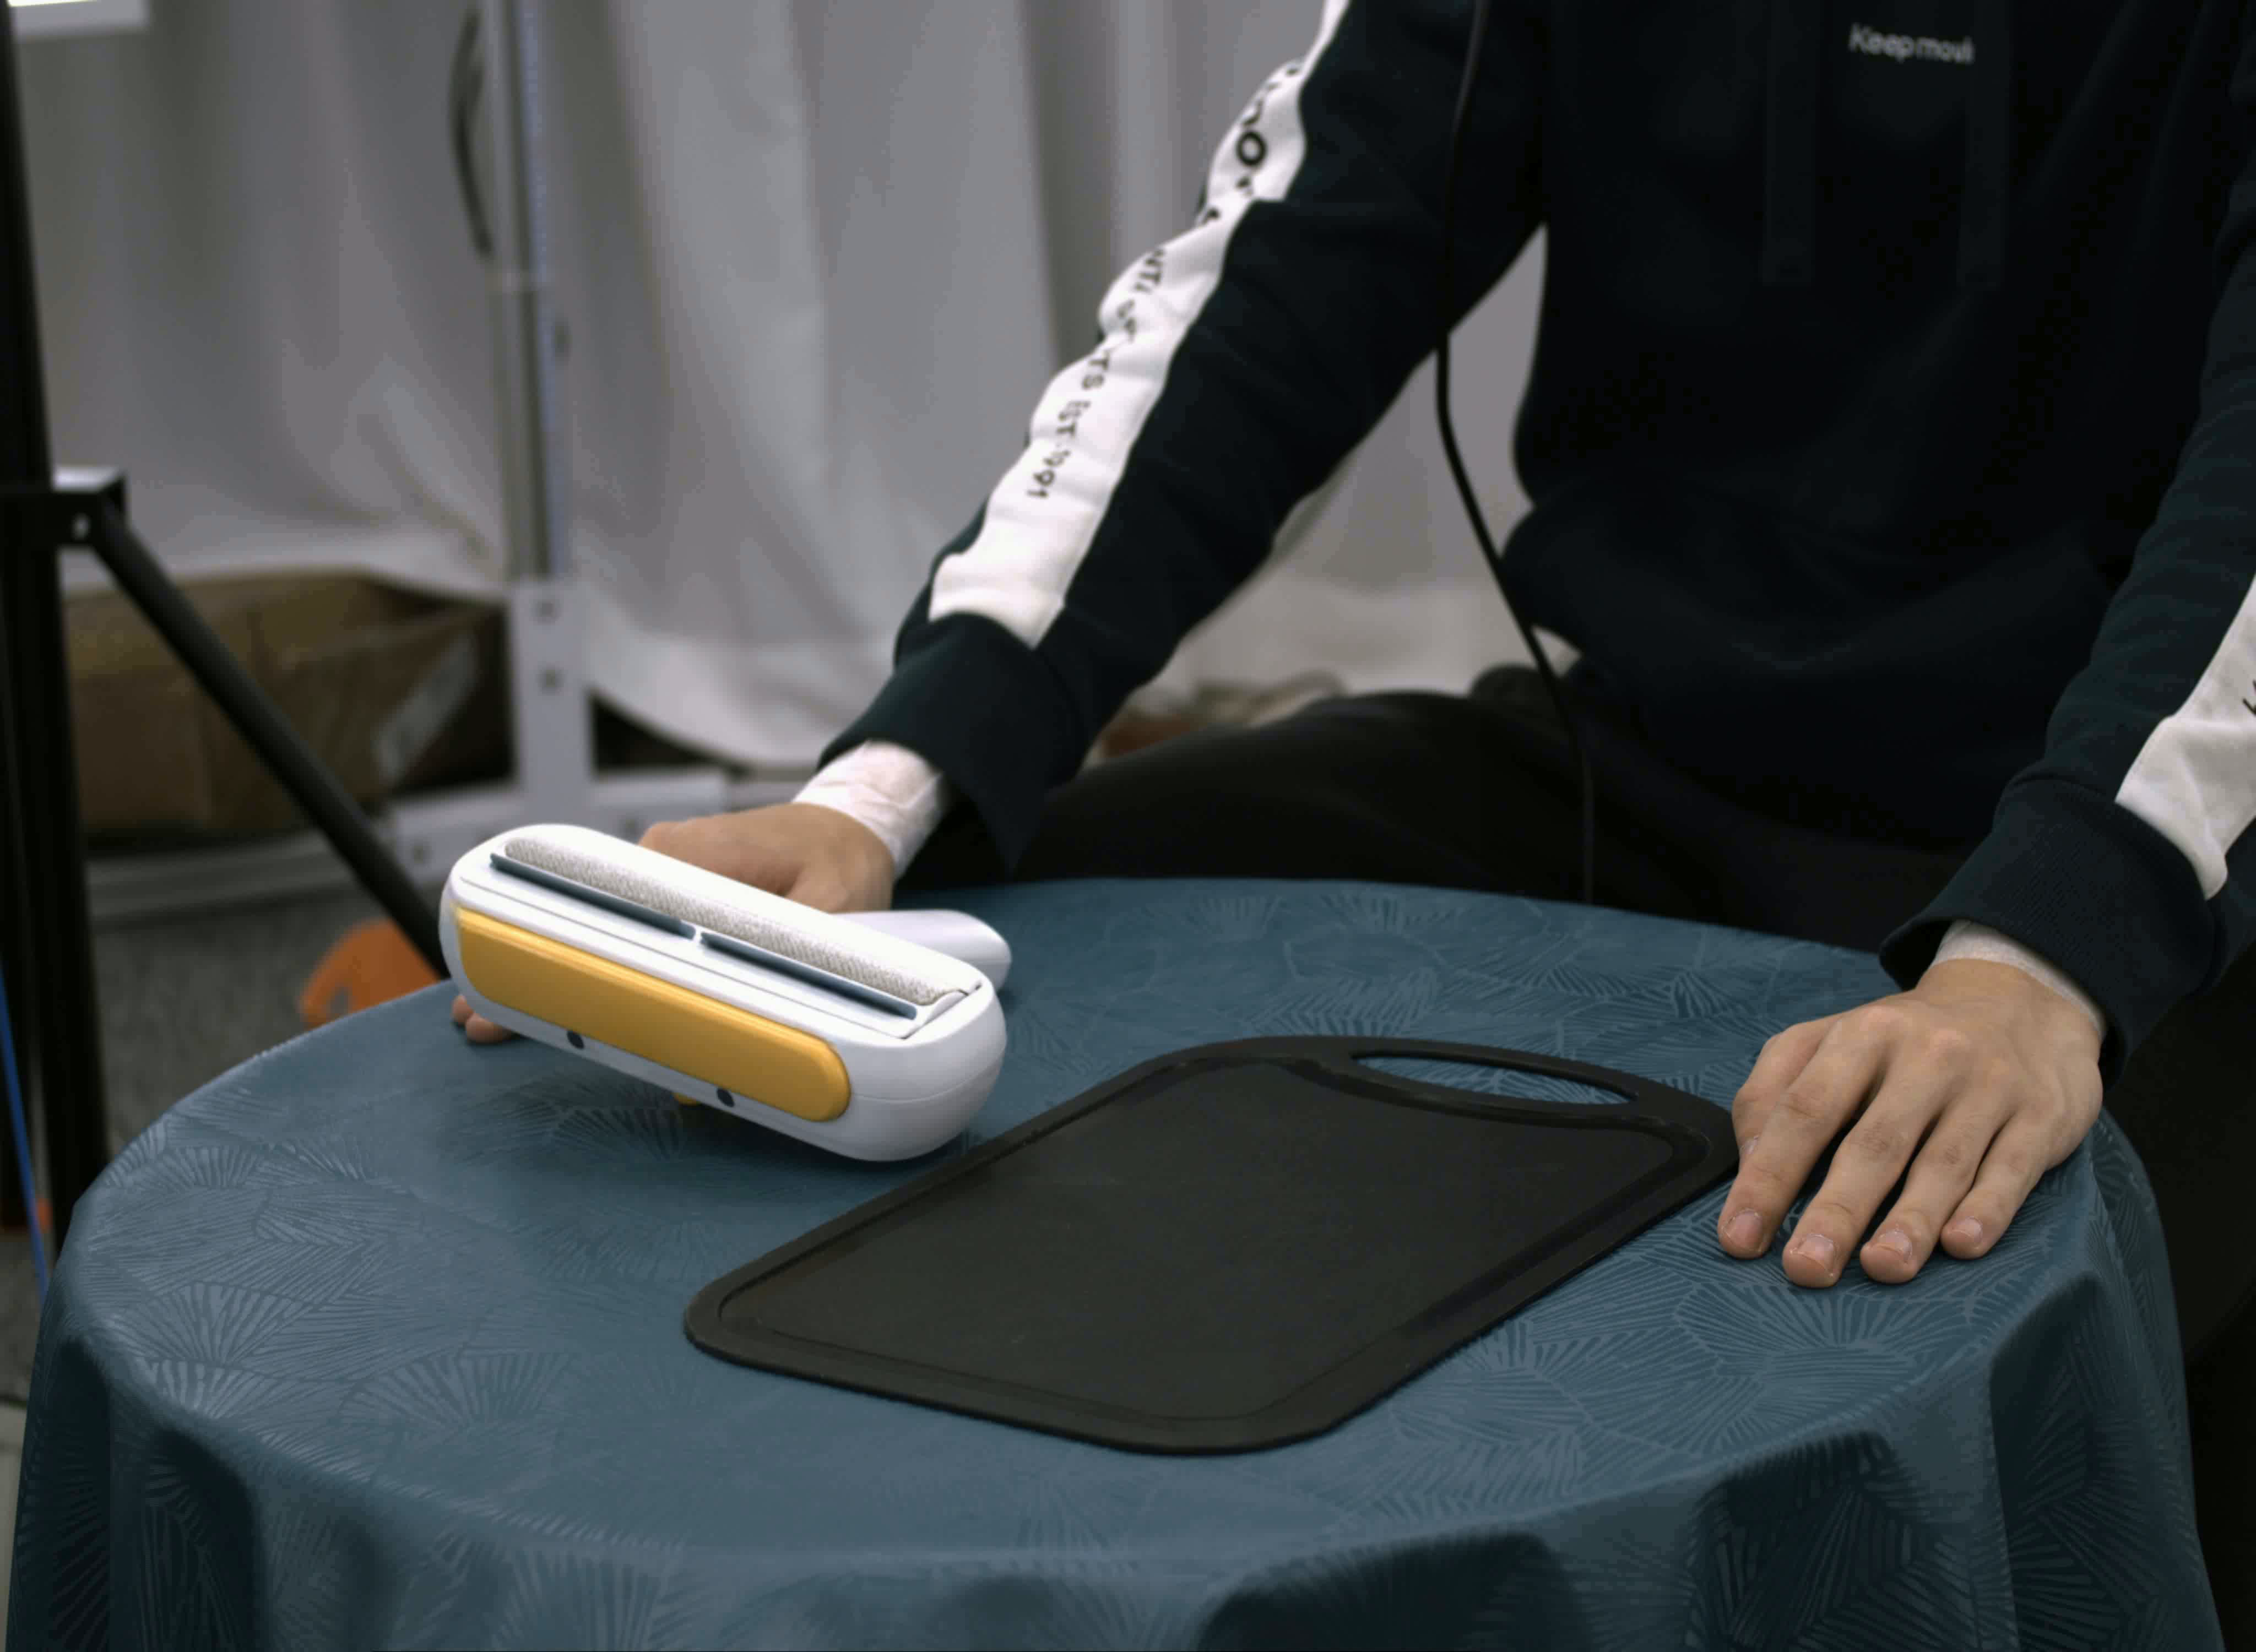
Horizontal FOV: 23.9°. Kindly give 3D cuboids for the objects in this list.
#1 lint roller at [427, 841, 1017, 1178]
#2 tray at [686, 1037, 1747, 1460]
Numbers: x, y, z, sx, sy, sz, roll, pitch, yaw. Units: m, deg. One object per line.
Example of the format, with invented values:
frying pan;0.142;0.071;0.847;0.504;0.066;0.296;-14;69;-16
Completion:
lint roller;-0.100;0.061;1.684;0.197;0.074;0.187;18;10;36
tray;0.035;0.112;1.528;0.215;0.010;0.319;9;19;34
